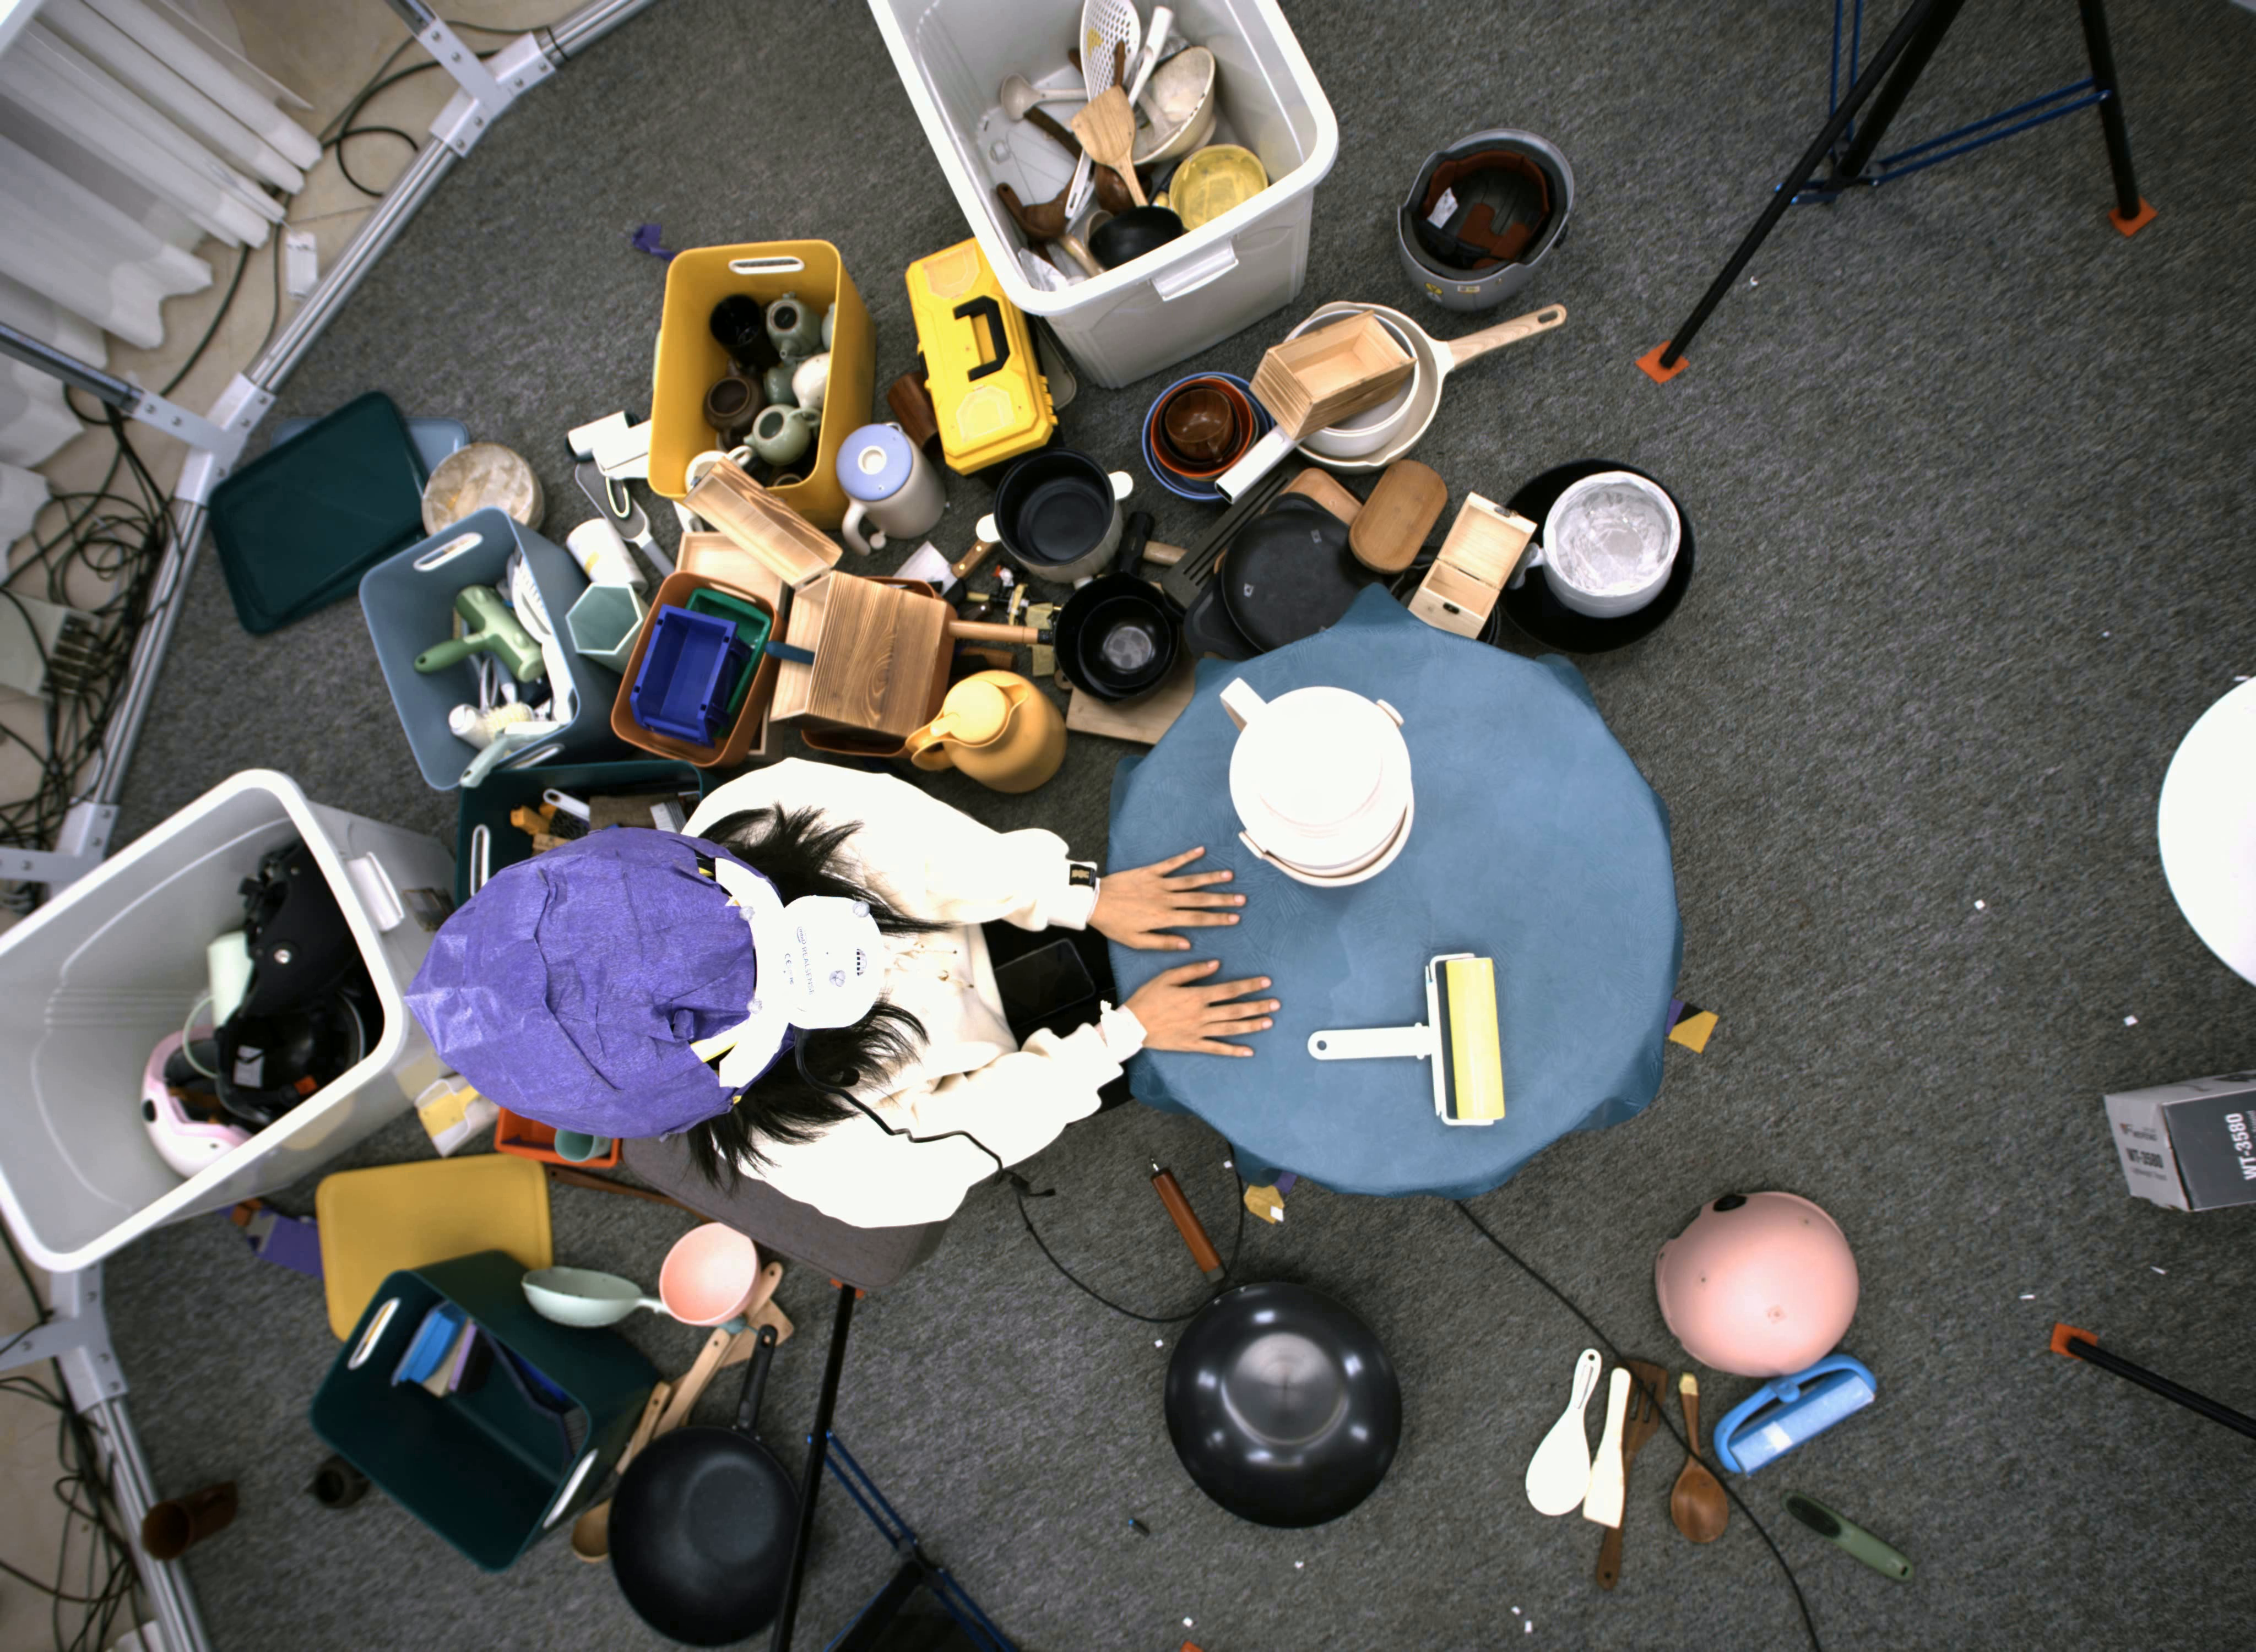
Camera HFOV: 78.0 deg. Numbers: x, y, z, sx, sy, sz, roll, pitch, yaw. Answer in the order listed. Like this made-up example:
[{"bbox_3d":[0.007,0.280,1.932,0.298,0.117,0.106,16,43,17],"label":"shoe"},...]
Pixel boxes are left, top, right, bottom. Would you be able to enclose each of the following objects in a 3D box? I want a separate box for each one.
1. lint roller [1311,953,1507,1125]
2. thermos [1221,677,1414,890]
[{"bbox_3d":[0.286,0.222,1.422,0.192,0.051,0.173,-5,86,4],"label":"lint roller"},{"bbox_3d":[0.173,-0.045,1.284,0.176,0.407,0.206,-44,79,4],"label":"thermos"}]
